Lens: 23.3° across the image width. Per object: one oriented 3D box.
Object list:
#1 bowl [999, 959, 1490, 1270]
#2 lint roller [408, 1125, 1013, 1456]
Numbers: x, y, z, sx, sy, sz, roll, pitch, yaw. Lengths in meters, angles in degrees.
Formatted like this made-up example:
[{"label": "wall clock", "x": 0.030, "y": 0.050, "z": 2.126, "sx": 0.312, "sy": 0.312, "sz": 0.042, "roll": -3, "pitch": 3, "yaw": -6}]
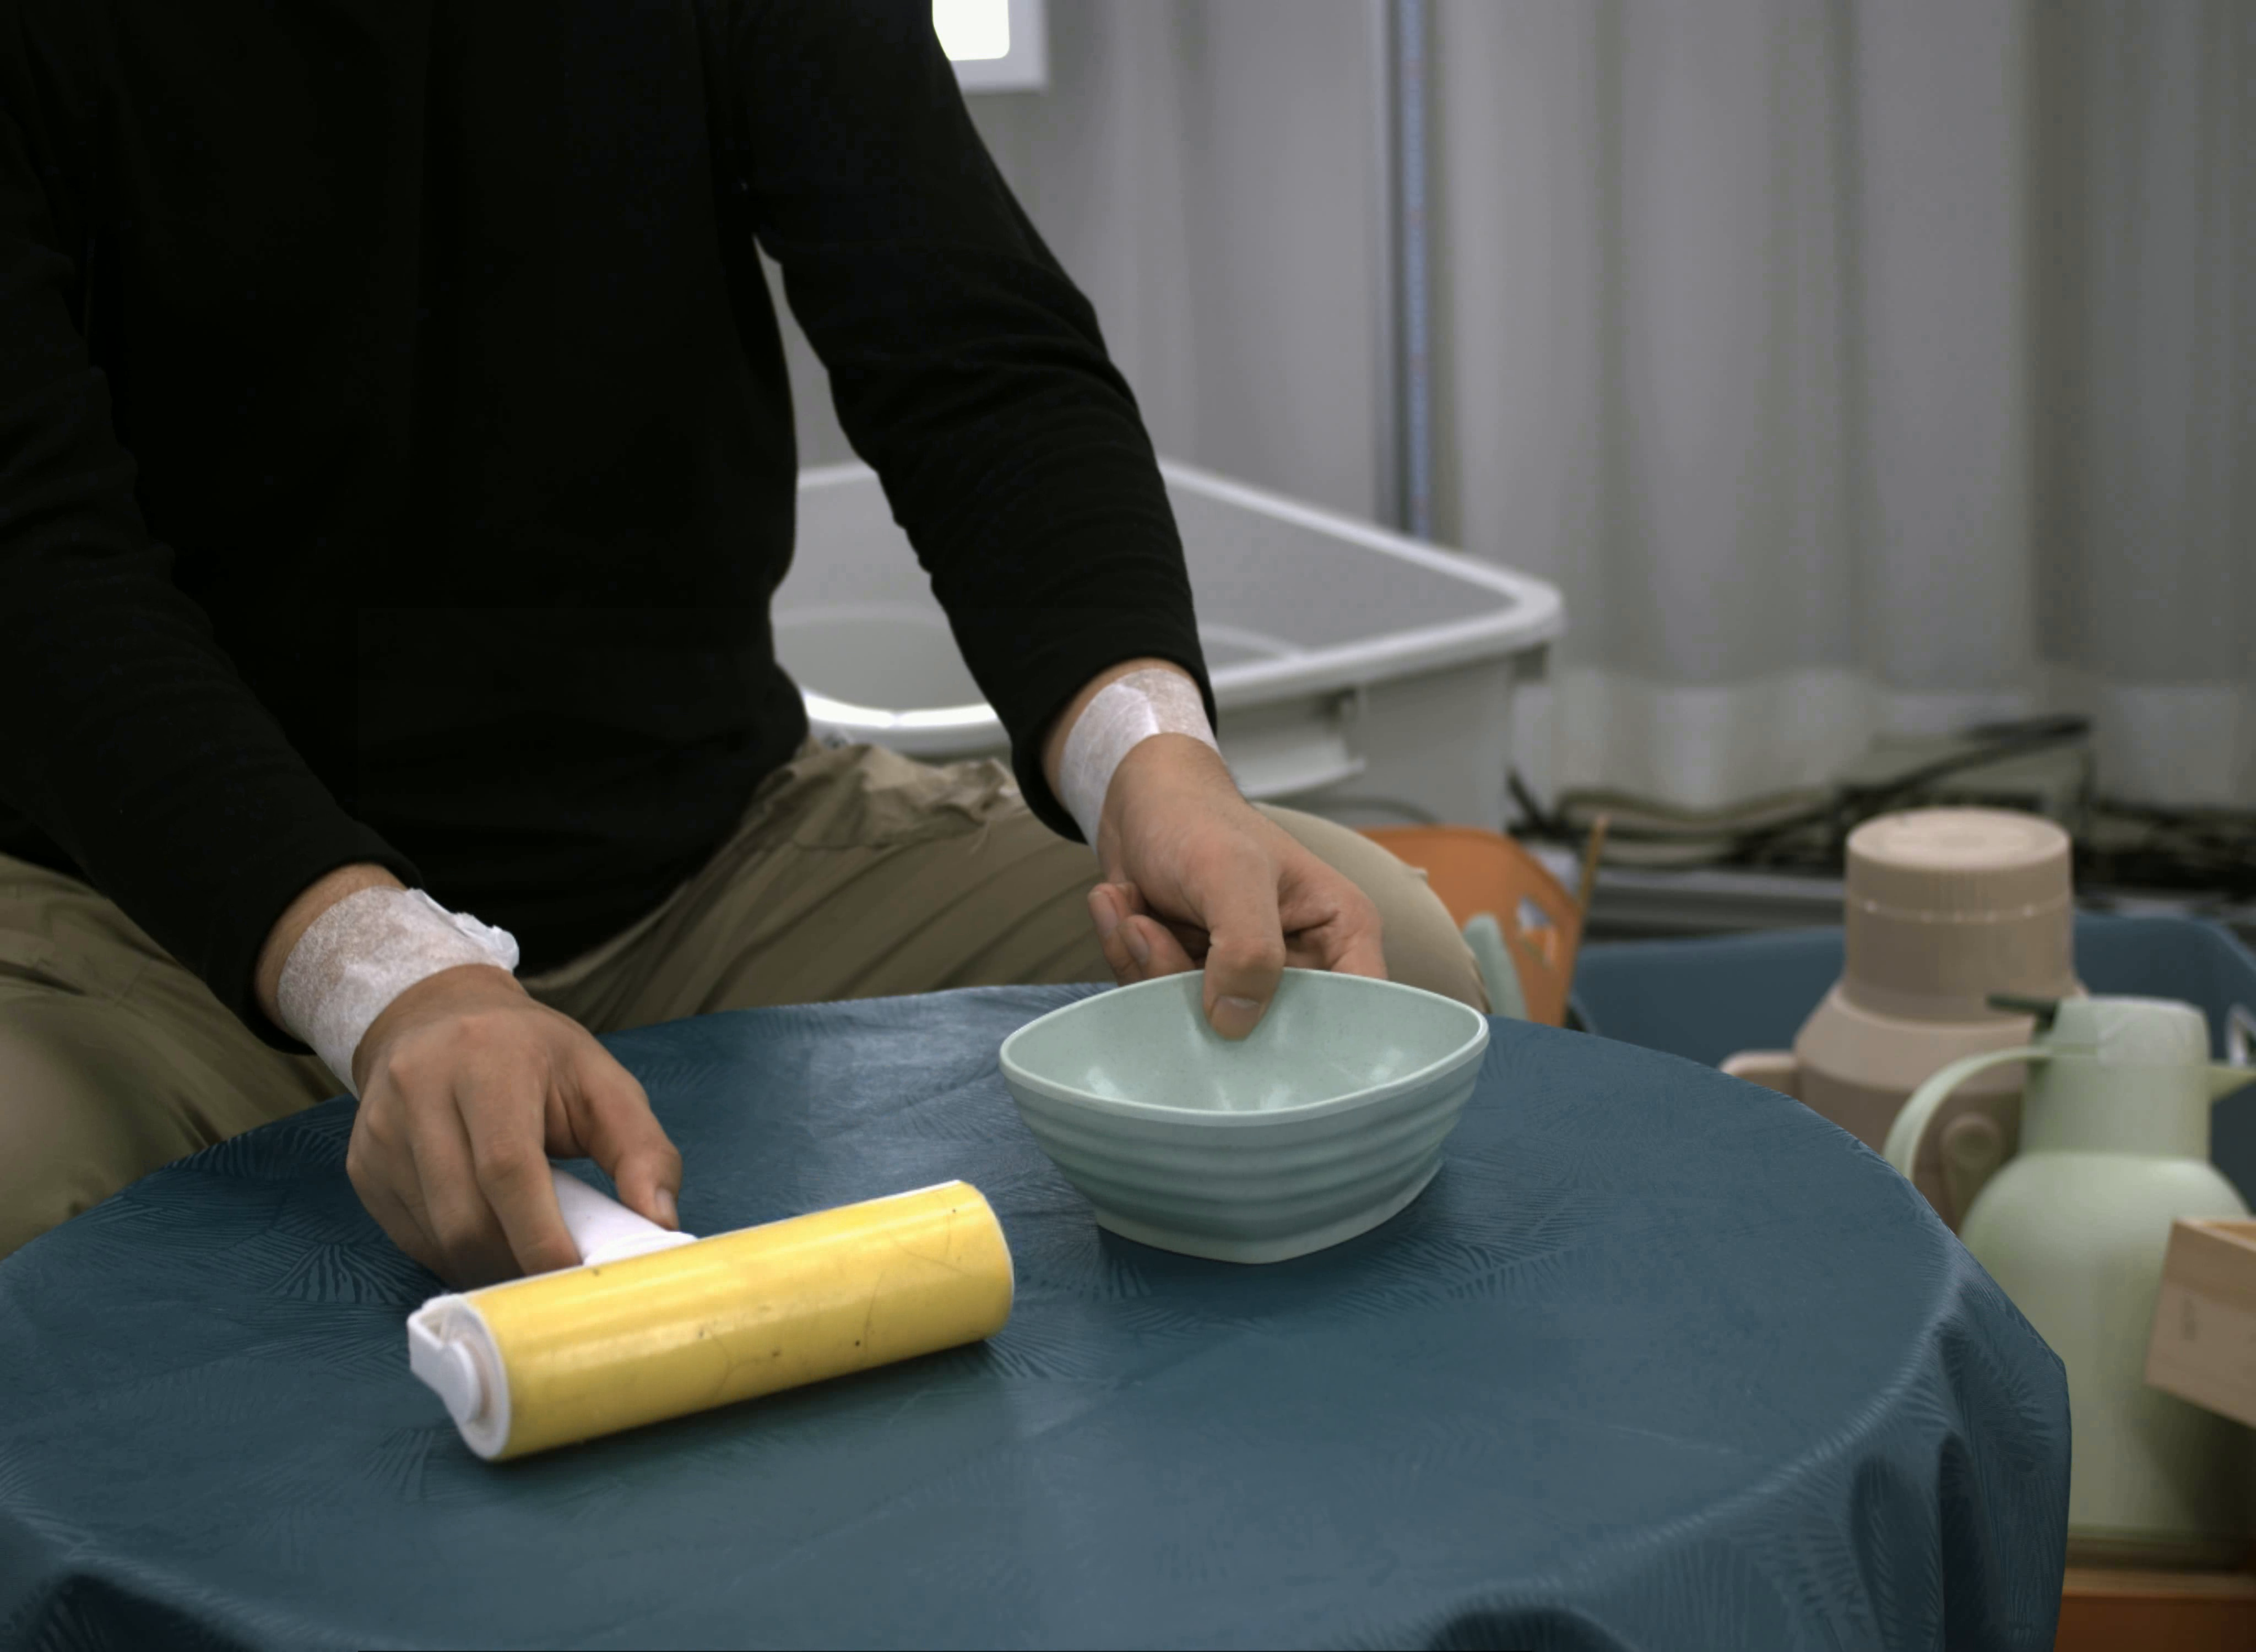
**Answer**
[{"label": "bowl", "x": 0.037, "y": 0.092, "z": 1.682, "sx": 0.151, "sy": 0.058, "sz": 0.152, "roll": -2, "pitch": 17, "yaw": 0}, {"label": "lint roller", "x": -0.152, "y": 0.114, "z": 1.602, "sx": 0.173, "sy": 0.051, "sz": 0.194, "roll": -11, "pitch": 28, "yaw": -32}]
